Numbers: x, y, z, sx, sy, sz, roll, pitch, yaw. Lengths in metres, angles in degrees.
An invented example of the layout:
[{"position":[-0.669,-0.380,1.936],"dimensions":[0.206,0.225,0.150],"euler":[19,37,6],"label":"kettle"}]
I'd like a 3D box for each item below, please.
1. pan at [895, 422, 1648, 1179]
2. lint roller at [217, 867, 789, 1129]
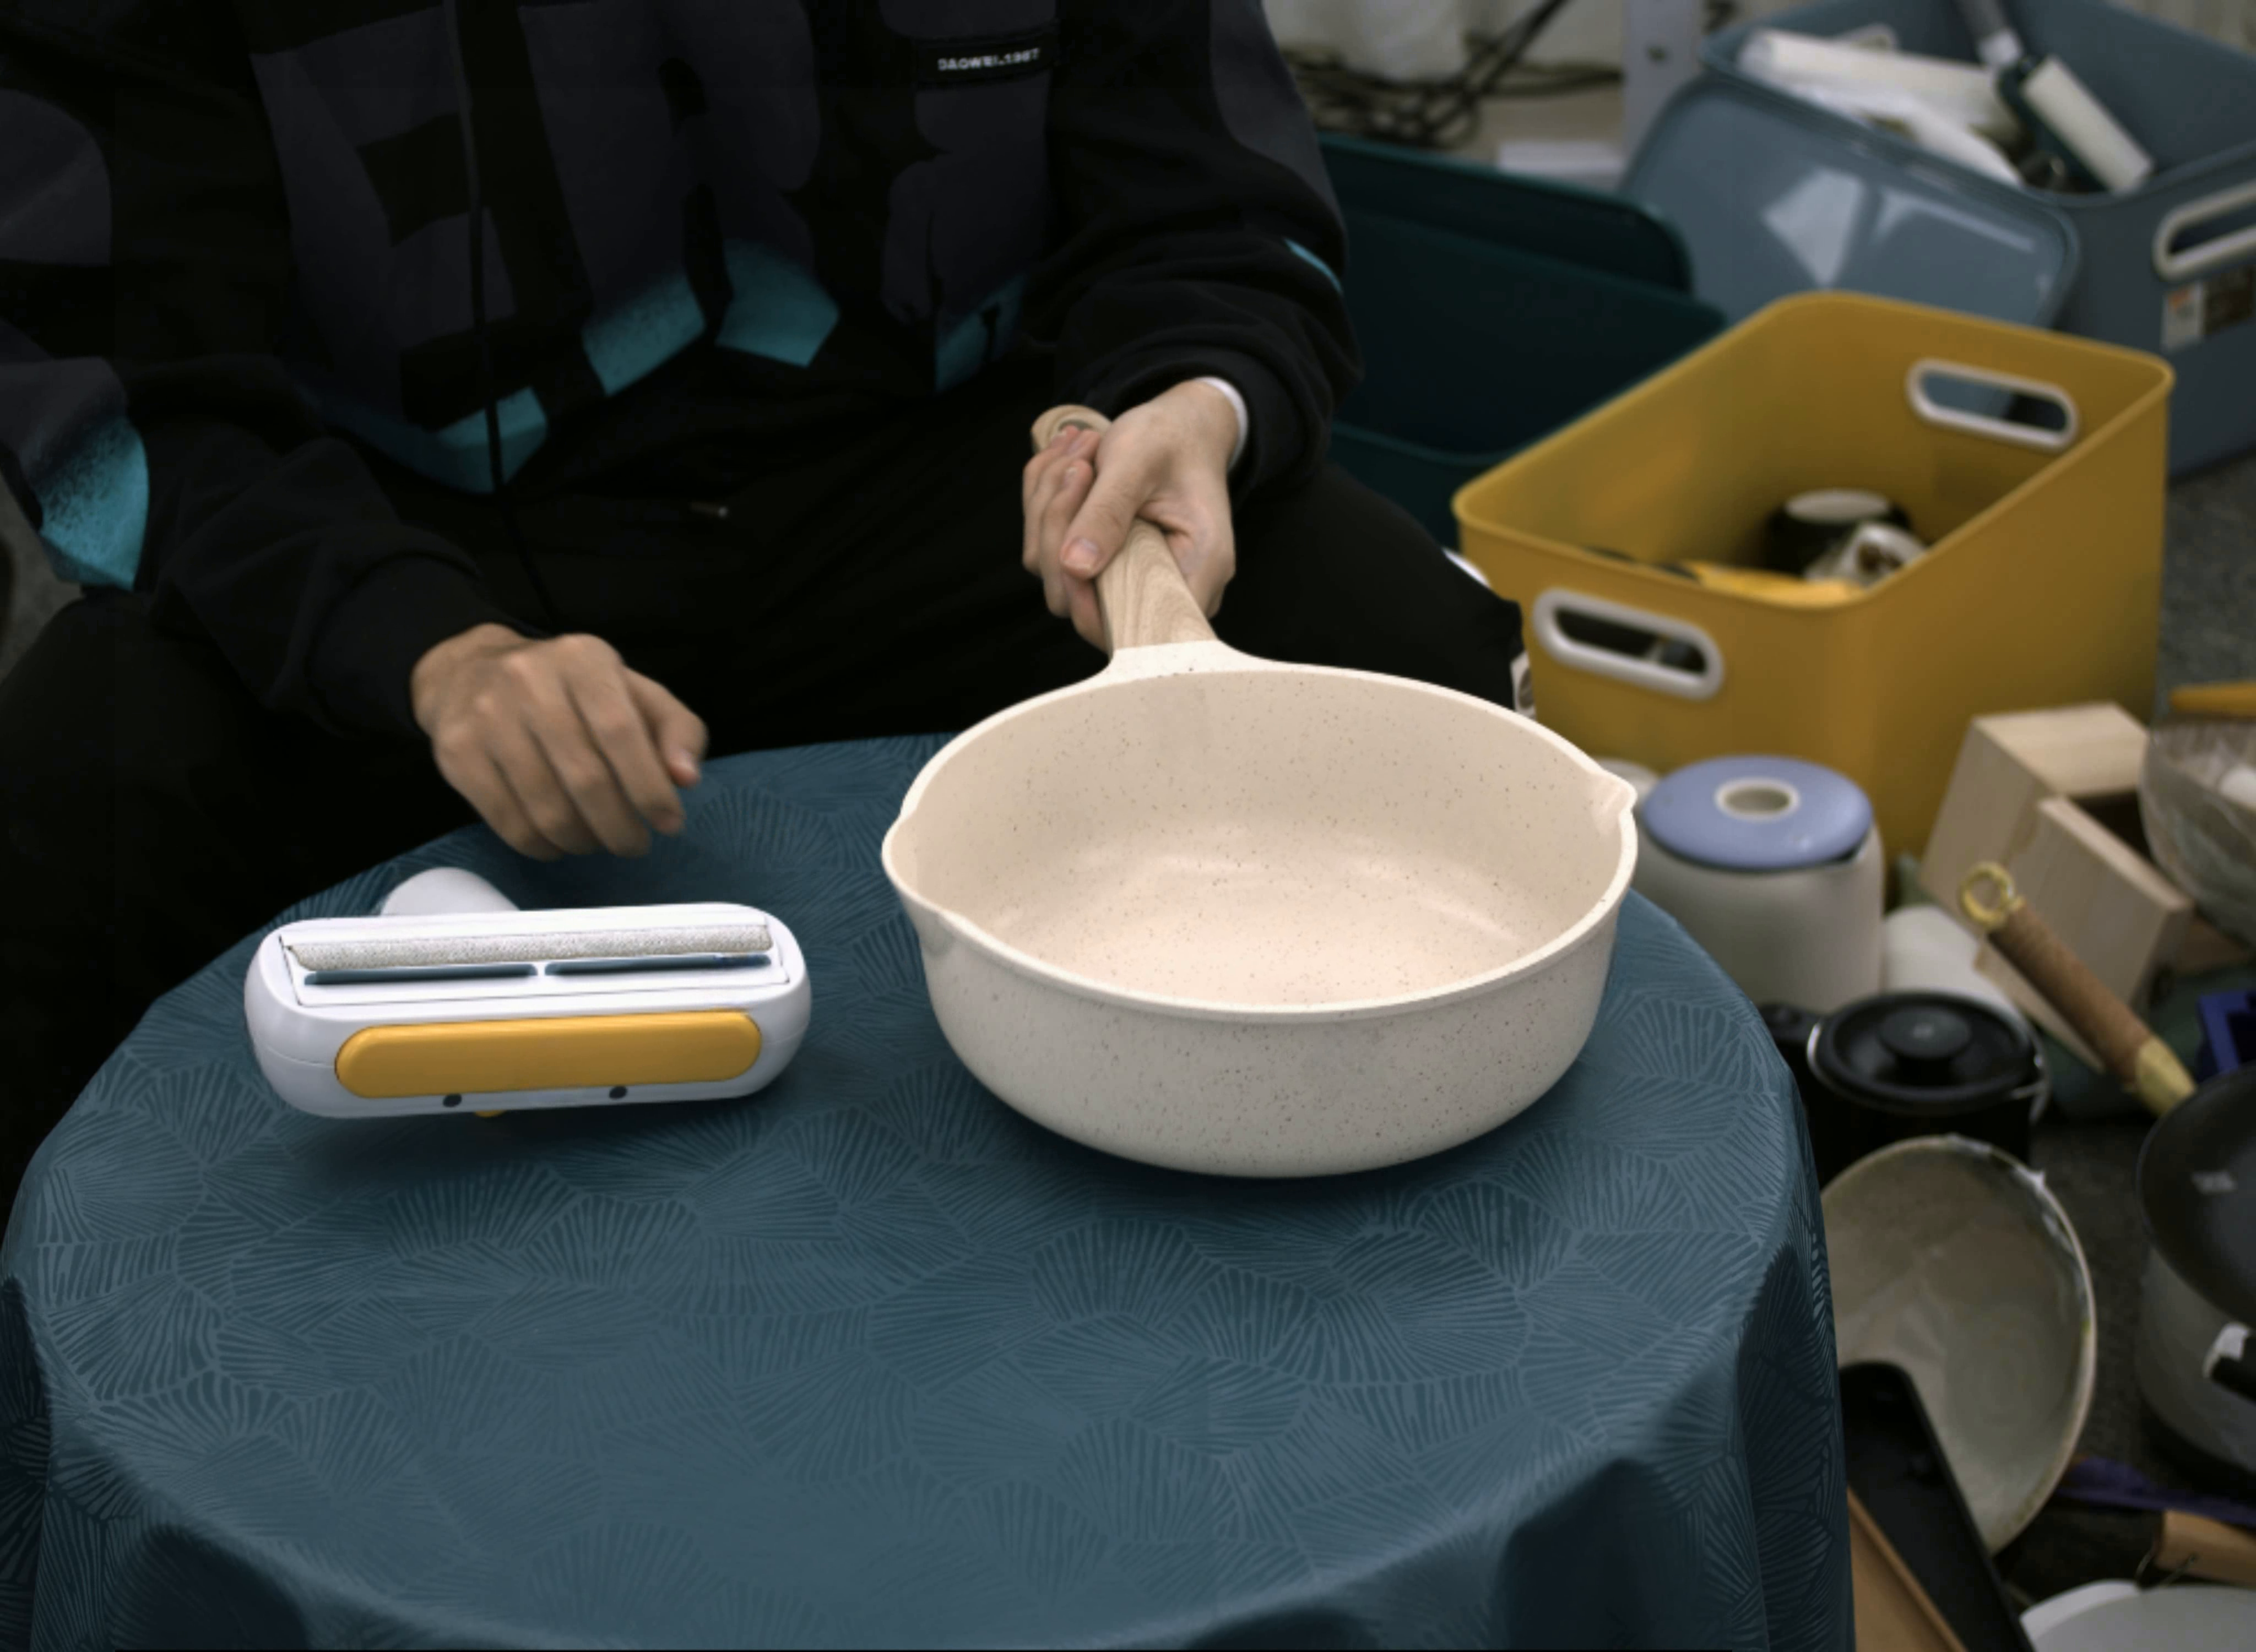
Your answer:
[{"position":[0.028,-0.013,1.998],"dimensions":[0.263,0.101,0.440],"euler":[-8,29,-12],"label":"pan"},{"position":[-0.225,0.046,1.956],"dimensions":[0.193,0.073,0.194],"euler":[-4,25,-14],"label":"lint roller"}]
